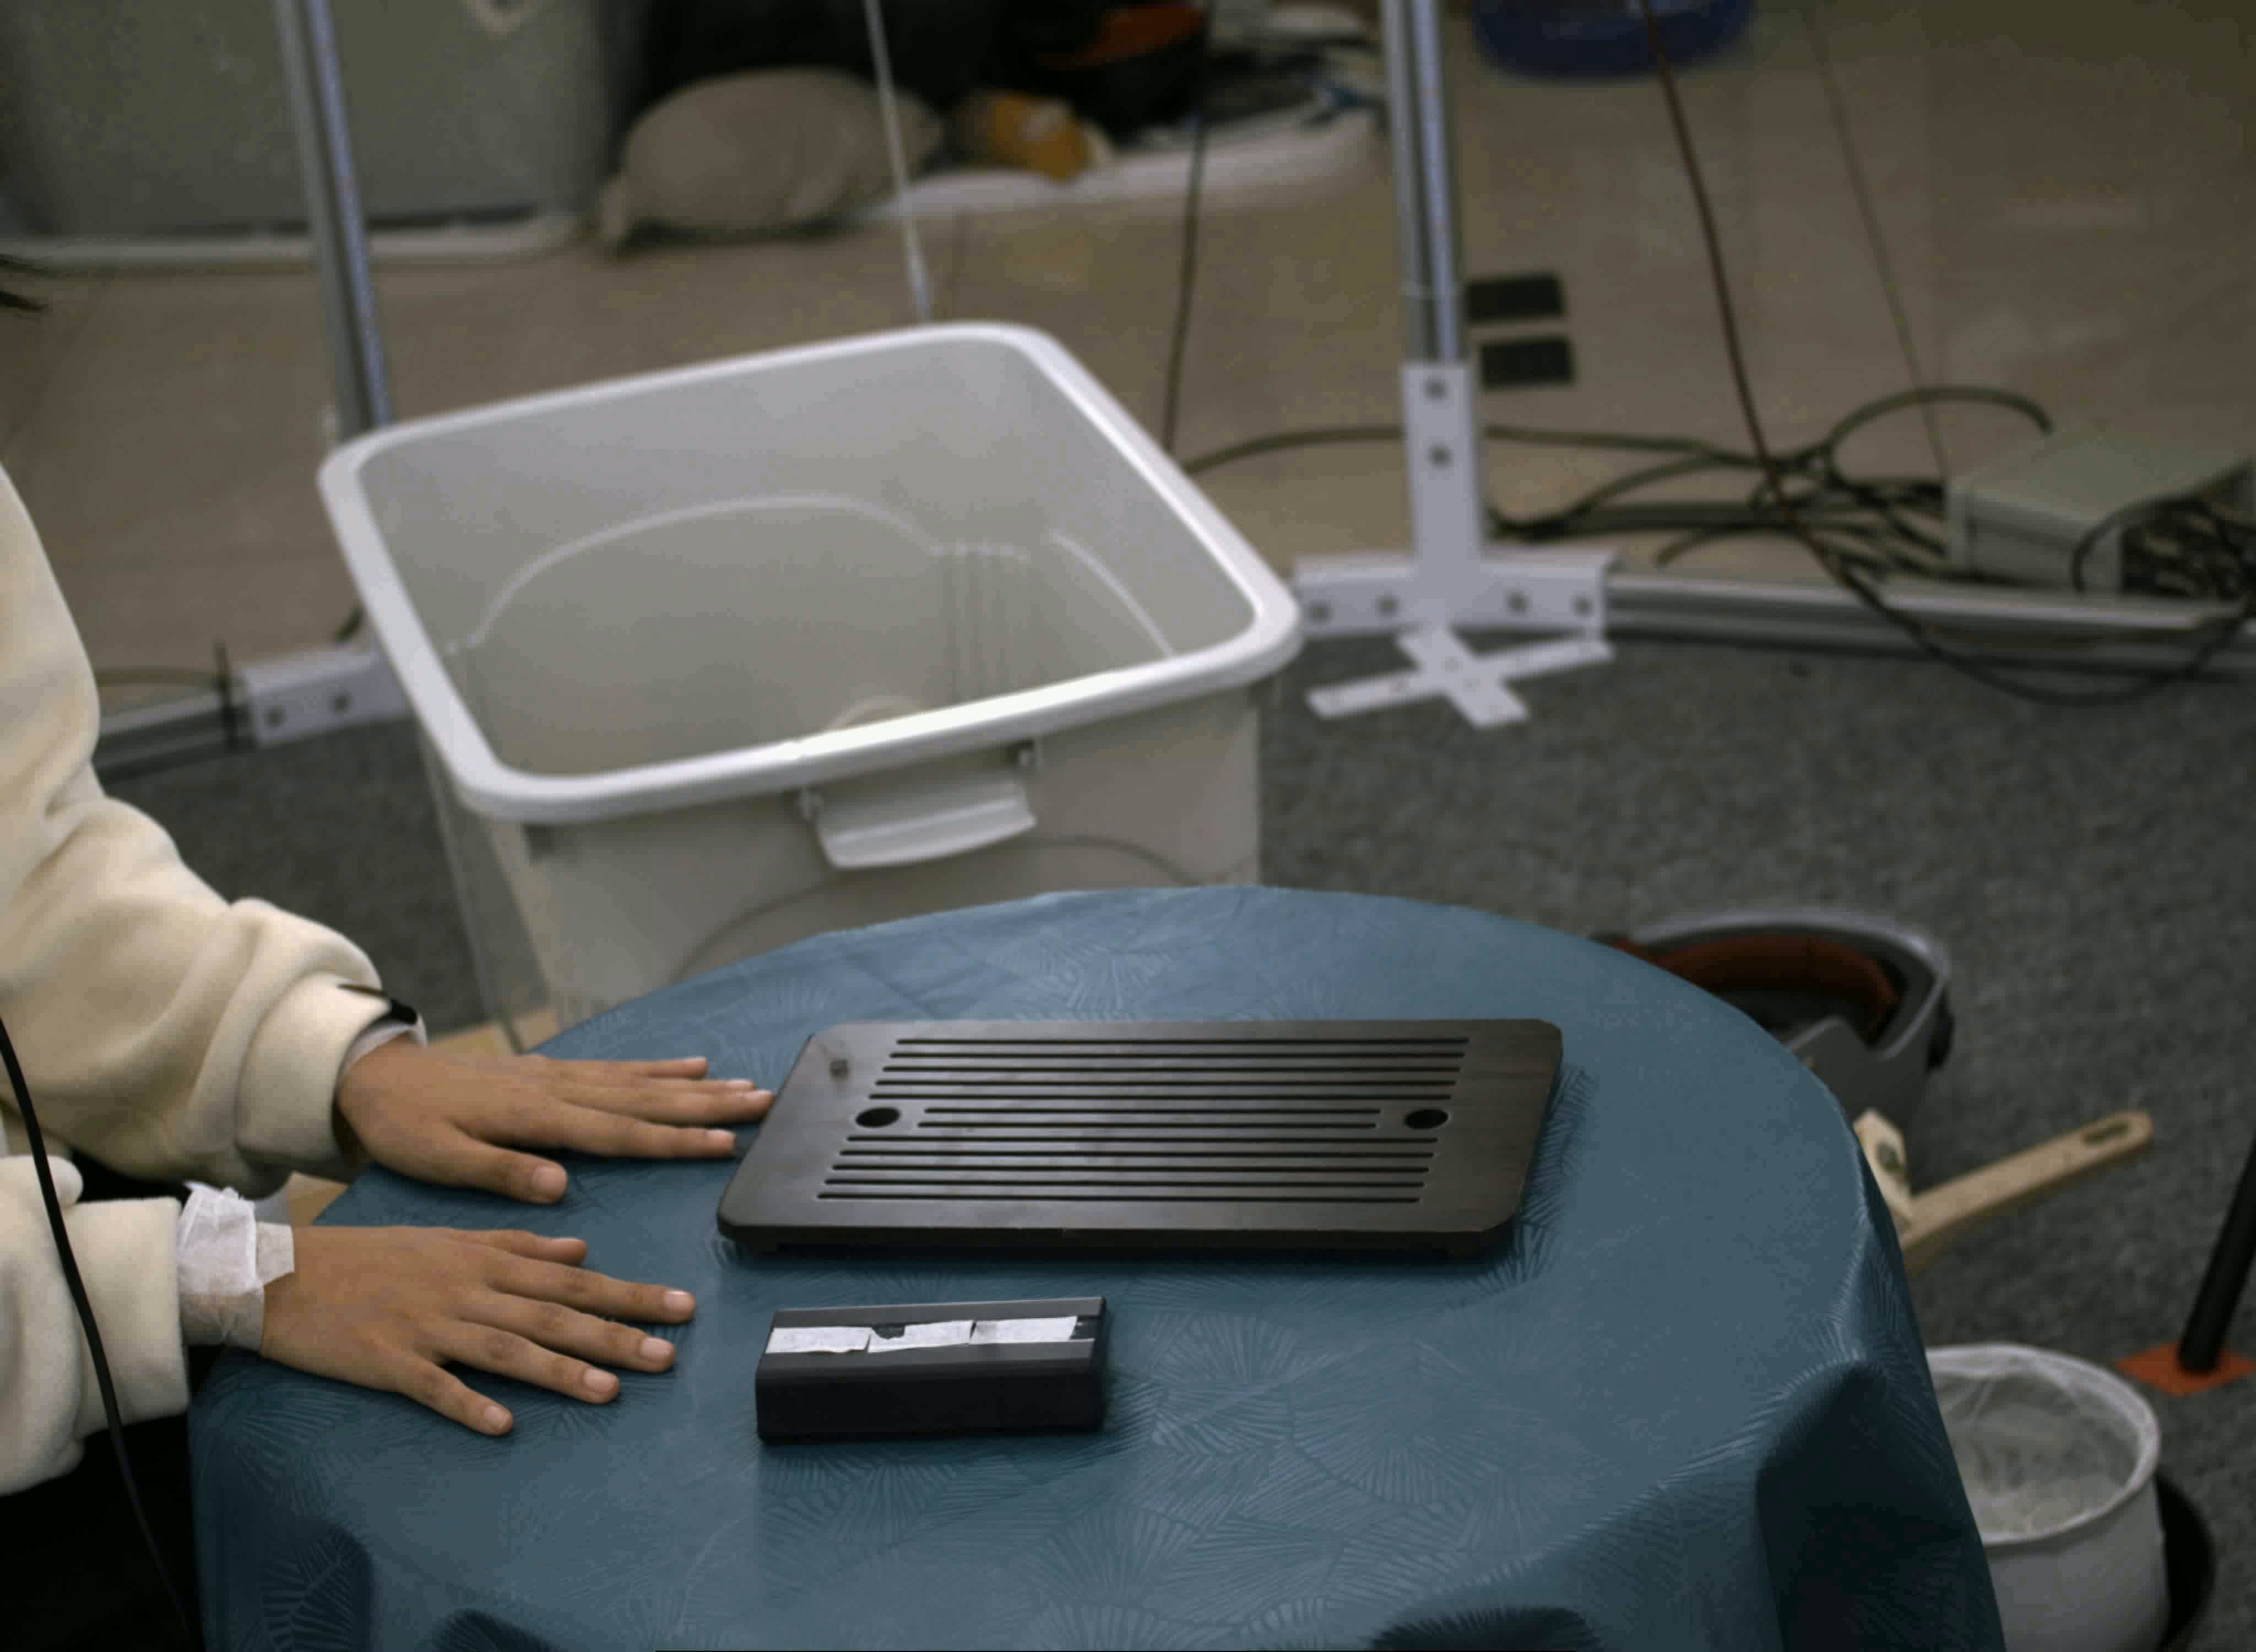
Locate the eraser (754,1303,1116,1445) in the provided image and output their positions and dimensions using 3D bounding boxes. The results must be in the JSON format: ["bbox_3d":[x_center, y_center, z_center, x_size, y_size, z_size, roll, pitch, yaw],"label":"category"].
[{"bbox_3d":[-0.067,0.194,2.015,0.125,0.031,0.053,-4,23,9],"label":"eraser"}]

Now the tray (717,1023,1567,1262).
[{"bbox_3d":[0.008,0.121,2.163,0.305,0.019,0.167,0,25,13],"label":"tray"}]
